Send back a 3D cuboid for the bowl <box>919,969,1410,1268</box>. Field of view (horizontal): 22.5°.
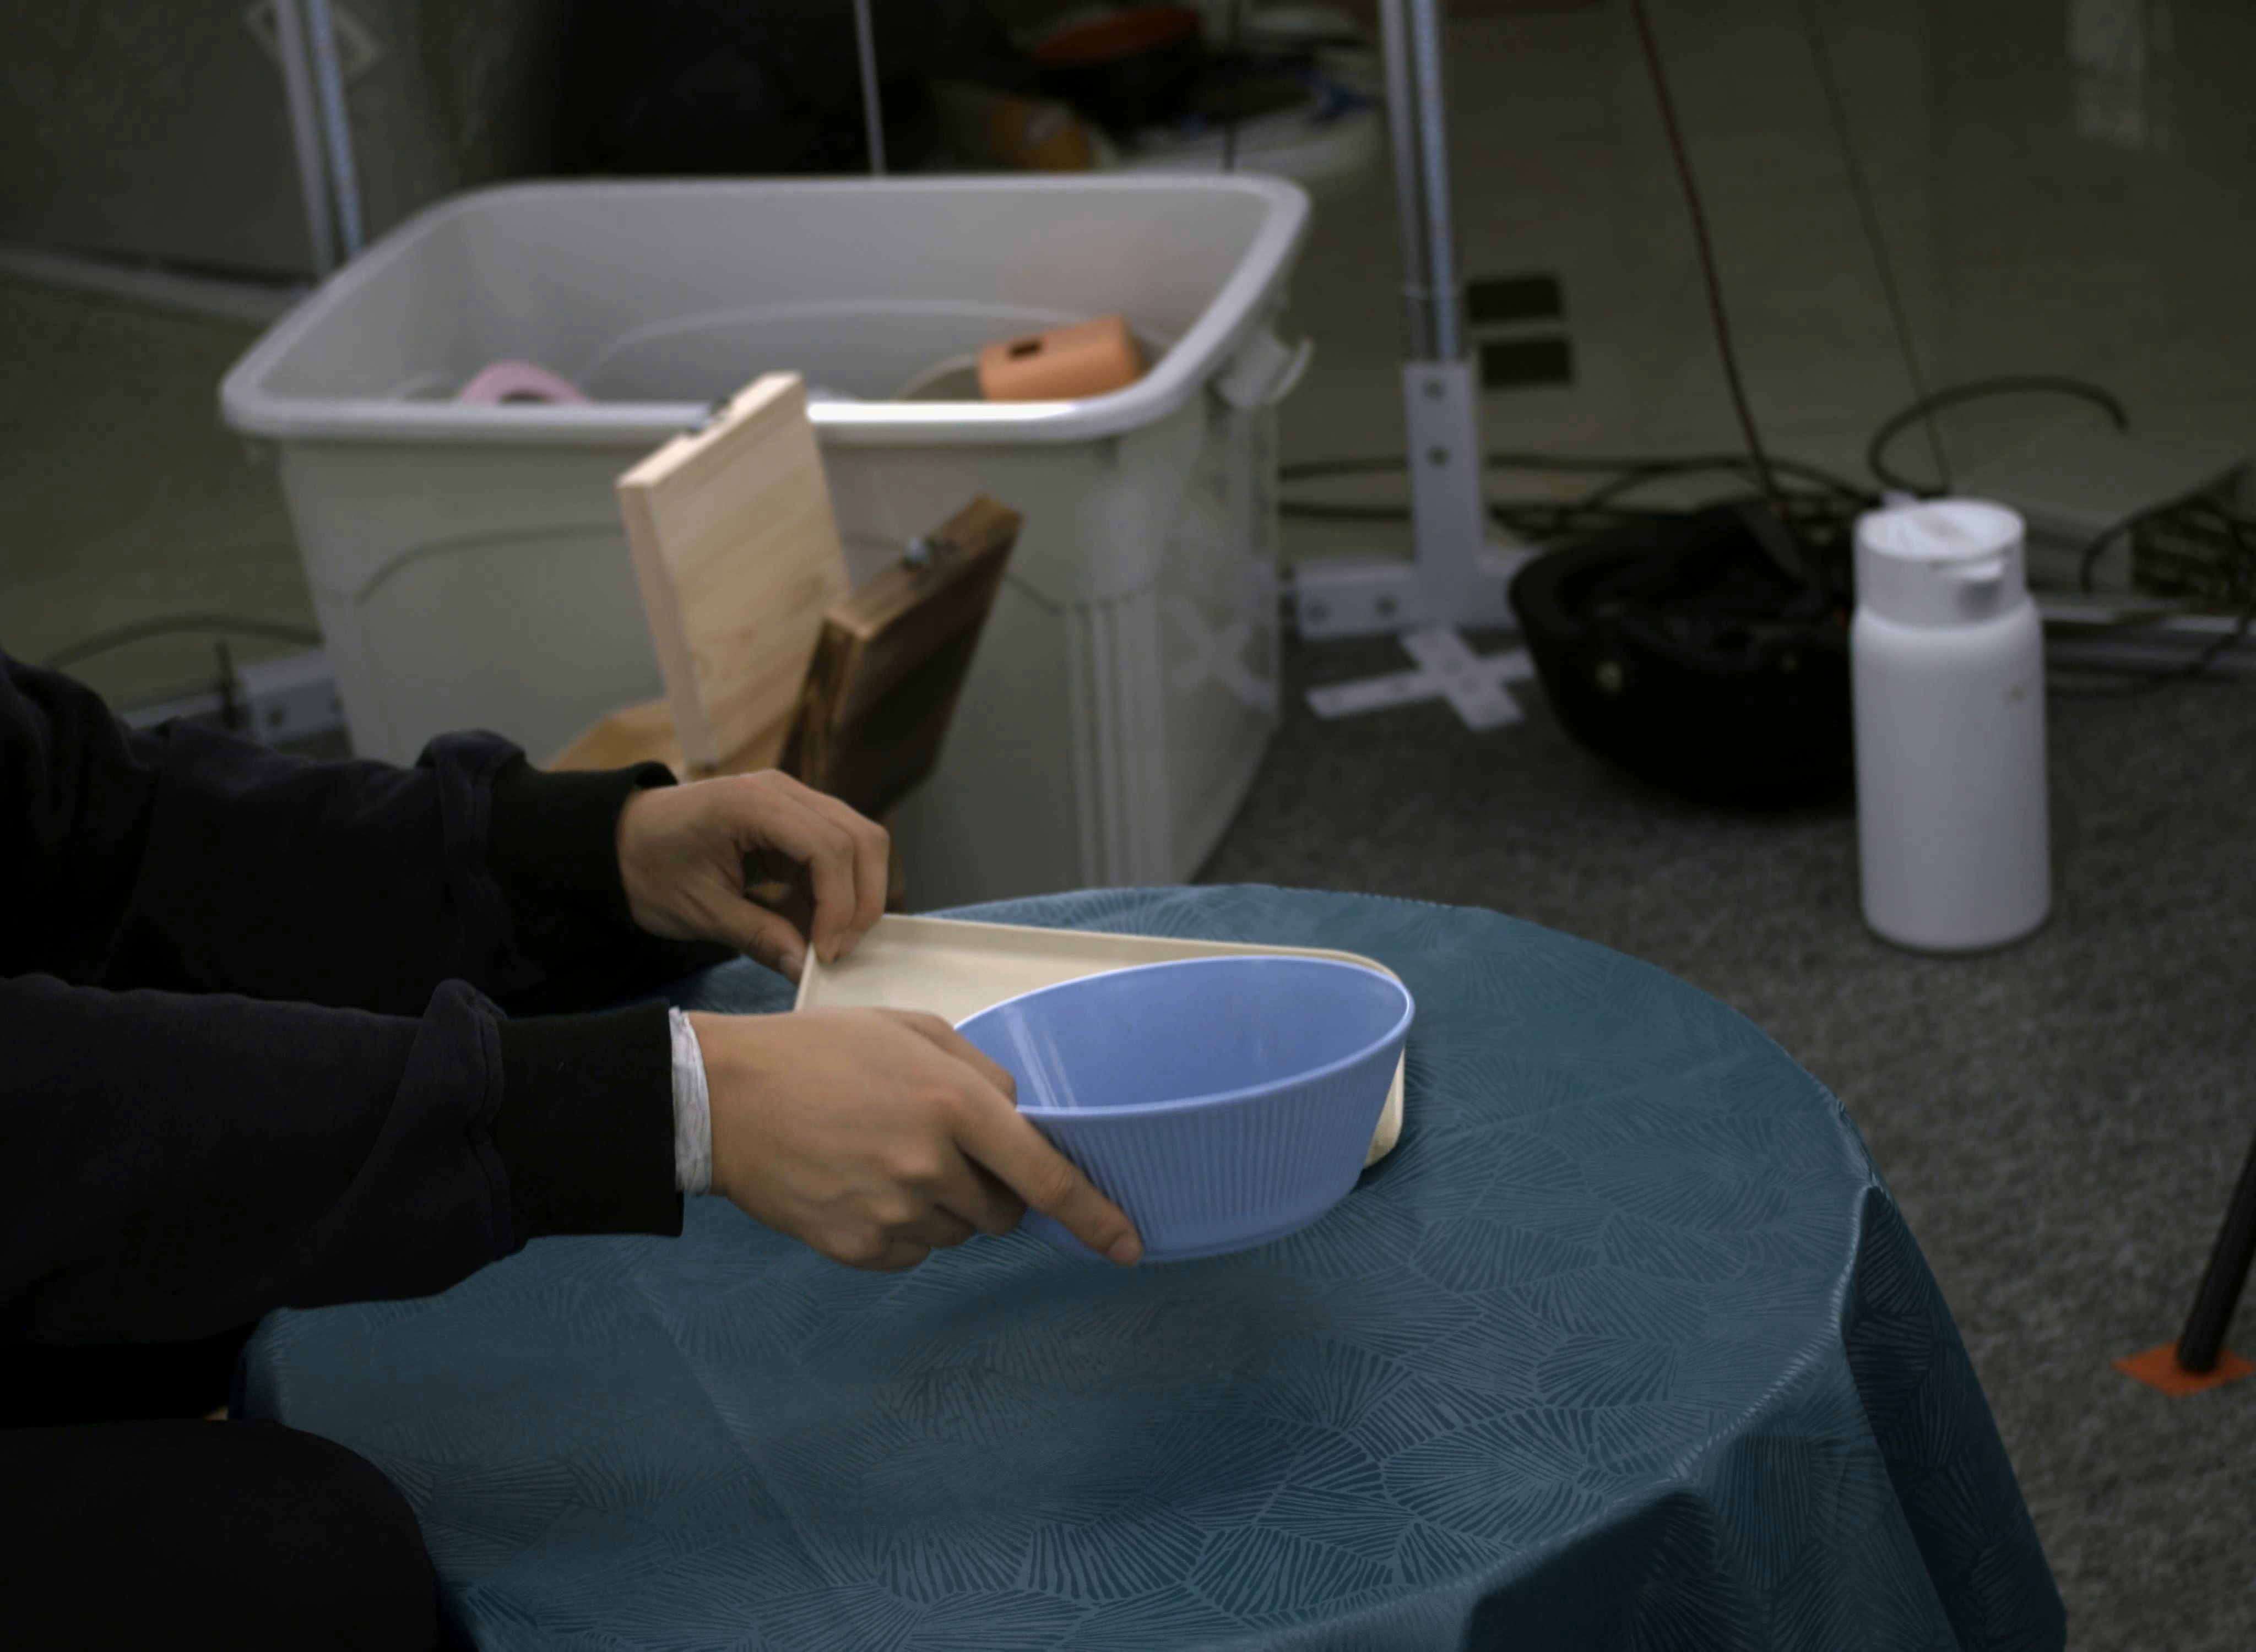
[{"bbox_3d":[0.016,0.107,2.013,0.176,0.071,0.174,-6,15,2],"label":"bowl"}]

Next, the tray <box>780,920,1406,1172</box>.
[{"bbox_3d":[-0.011,0.087,2.206,0.239,0.018,0.169,5,25,1],"label":"tray"}]
